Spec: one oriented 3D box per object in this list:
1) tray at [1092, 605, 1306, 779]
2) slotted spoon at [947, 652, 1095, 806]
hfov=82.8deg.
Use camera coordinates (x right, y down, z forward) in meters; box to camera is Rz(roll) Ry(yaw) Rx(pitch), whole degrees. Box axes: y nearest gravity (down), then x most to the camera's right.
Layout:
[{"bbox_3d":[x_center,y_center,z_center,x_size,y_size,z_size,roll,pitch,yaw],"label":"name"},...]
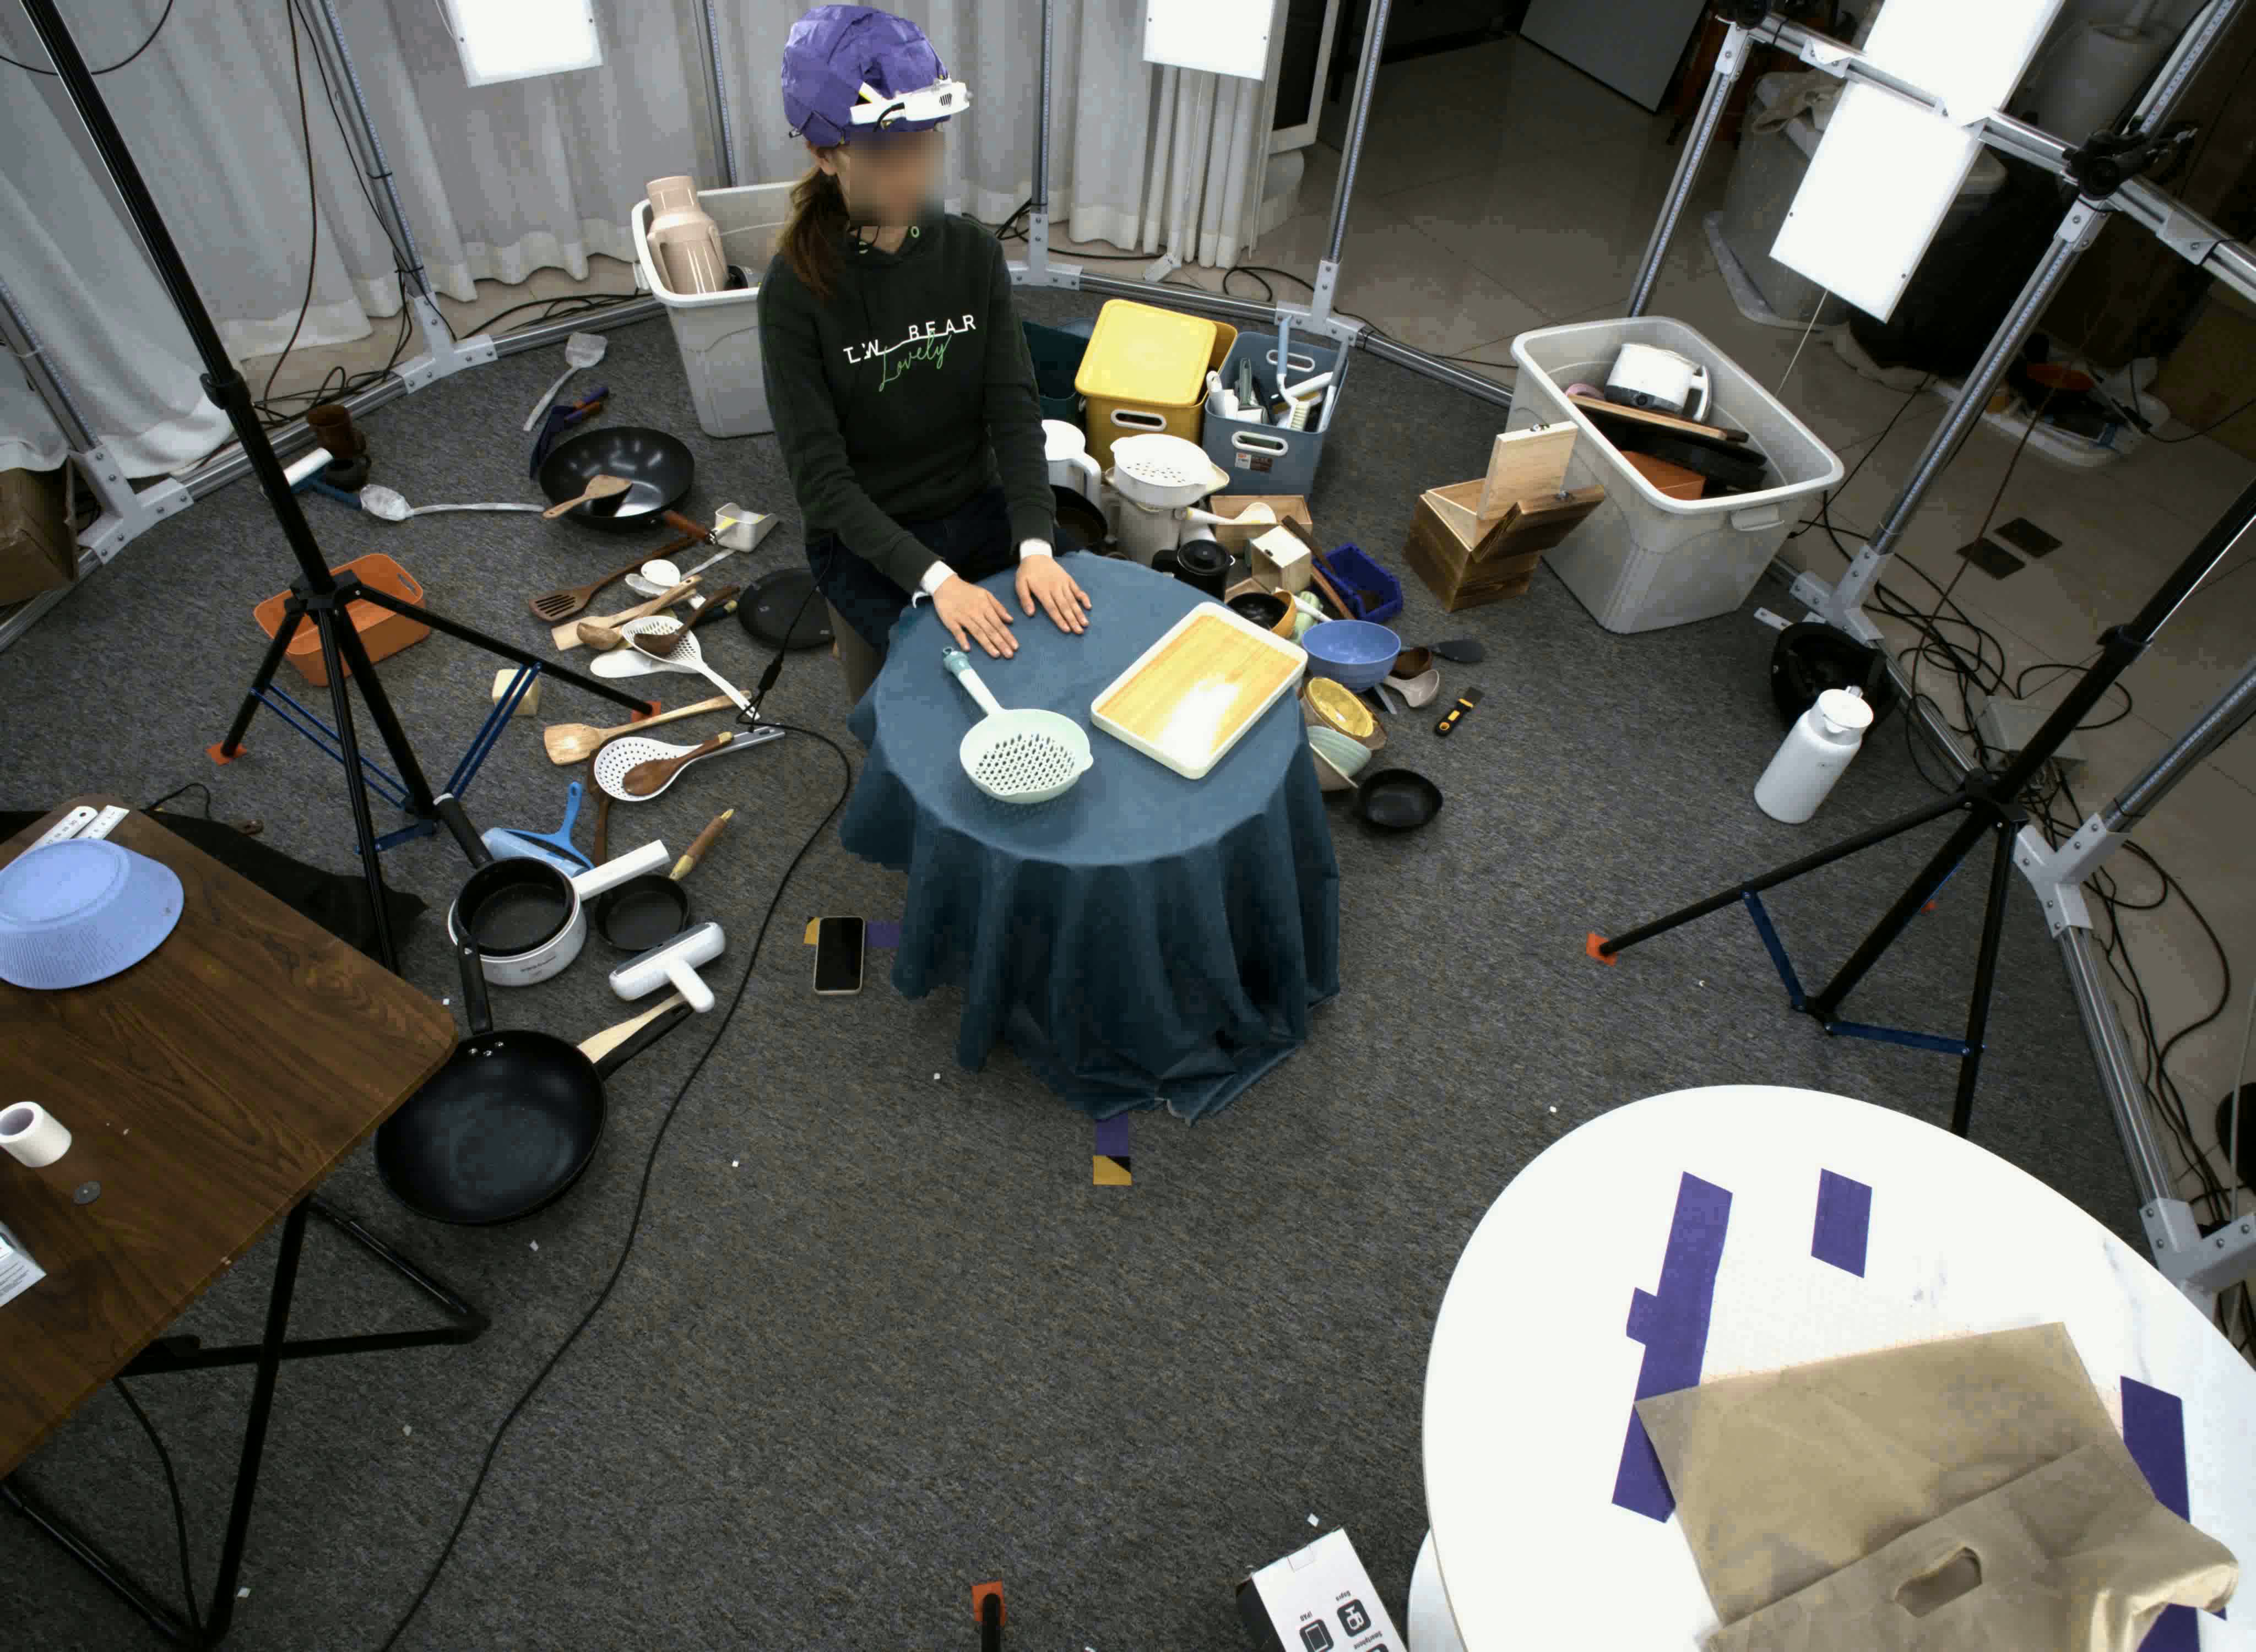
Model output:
[{"bbox_3d":[0.105,-0.199,1.848,0.194,0.027,0.304,30,53,21],"label":"tray"},{"bbox_3d":[-0.178,-0.149,1.761,0.169,0.073,0.367,-19,52,-20],"label":"slotted spoon"}]
